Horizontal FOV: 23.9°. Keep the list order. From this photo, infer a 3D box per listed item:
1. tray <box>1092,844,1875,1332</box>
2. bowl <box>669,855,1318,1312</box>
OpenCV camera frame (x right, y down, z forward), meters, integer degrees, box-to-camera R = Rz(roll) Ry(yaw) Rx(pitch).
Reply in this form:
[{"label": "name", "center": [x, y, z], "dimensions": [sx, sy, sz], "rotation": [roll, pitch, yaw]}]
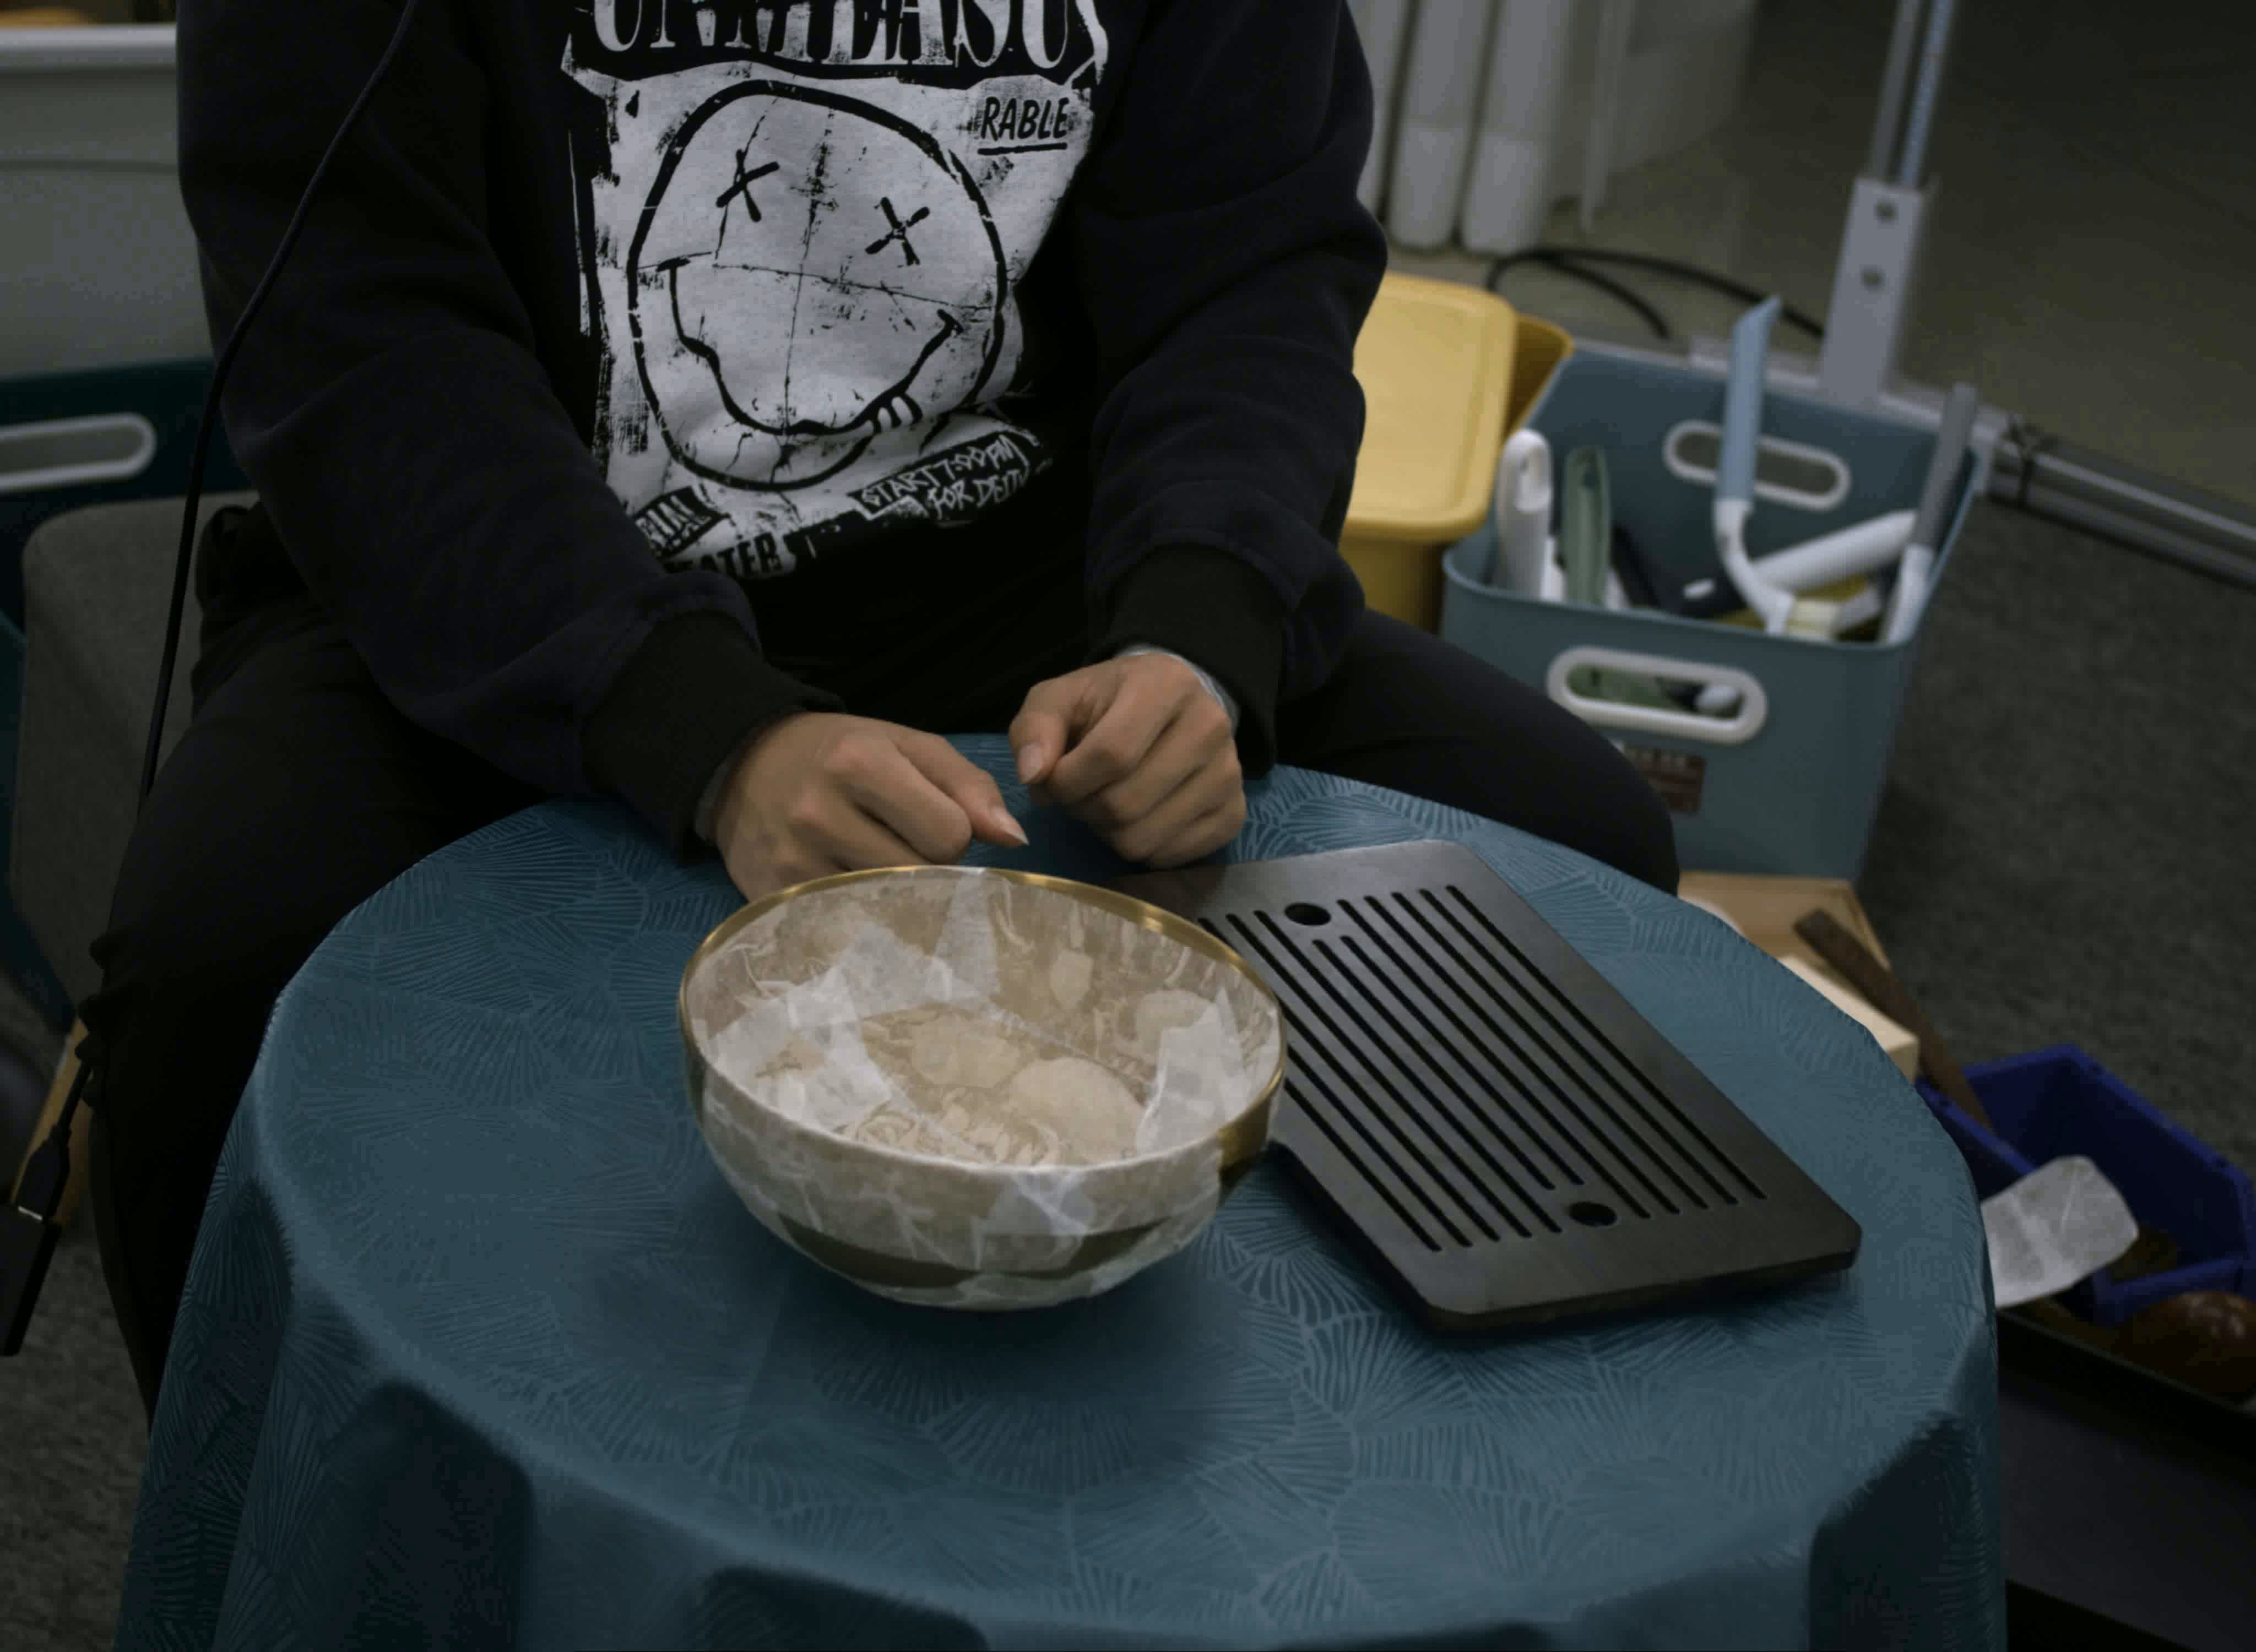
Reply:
[{"label": "tray", "center": [0.116, 0.089, 1.875], "dimensions": [0.169, 0.018, 0.309], "rotation": [-7, 29, -24]}, {"label": "bowl", "center": [-0.048, 0.096, 1.741], "dimensions": [0.214, 0.094, 0.216], "rotation": [4, 27, -2]}]
